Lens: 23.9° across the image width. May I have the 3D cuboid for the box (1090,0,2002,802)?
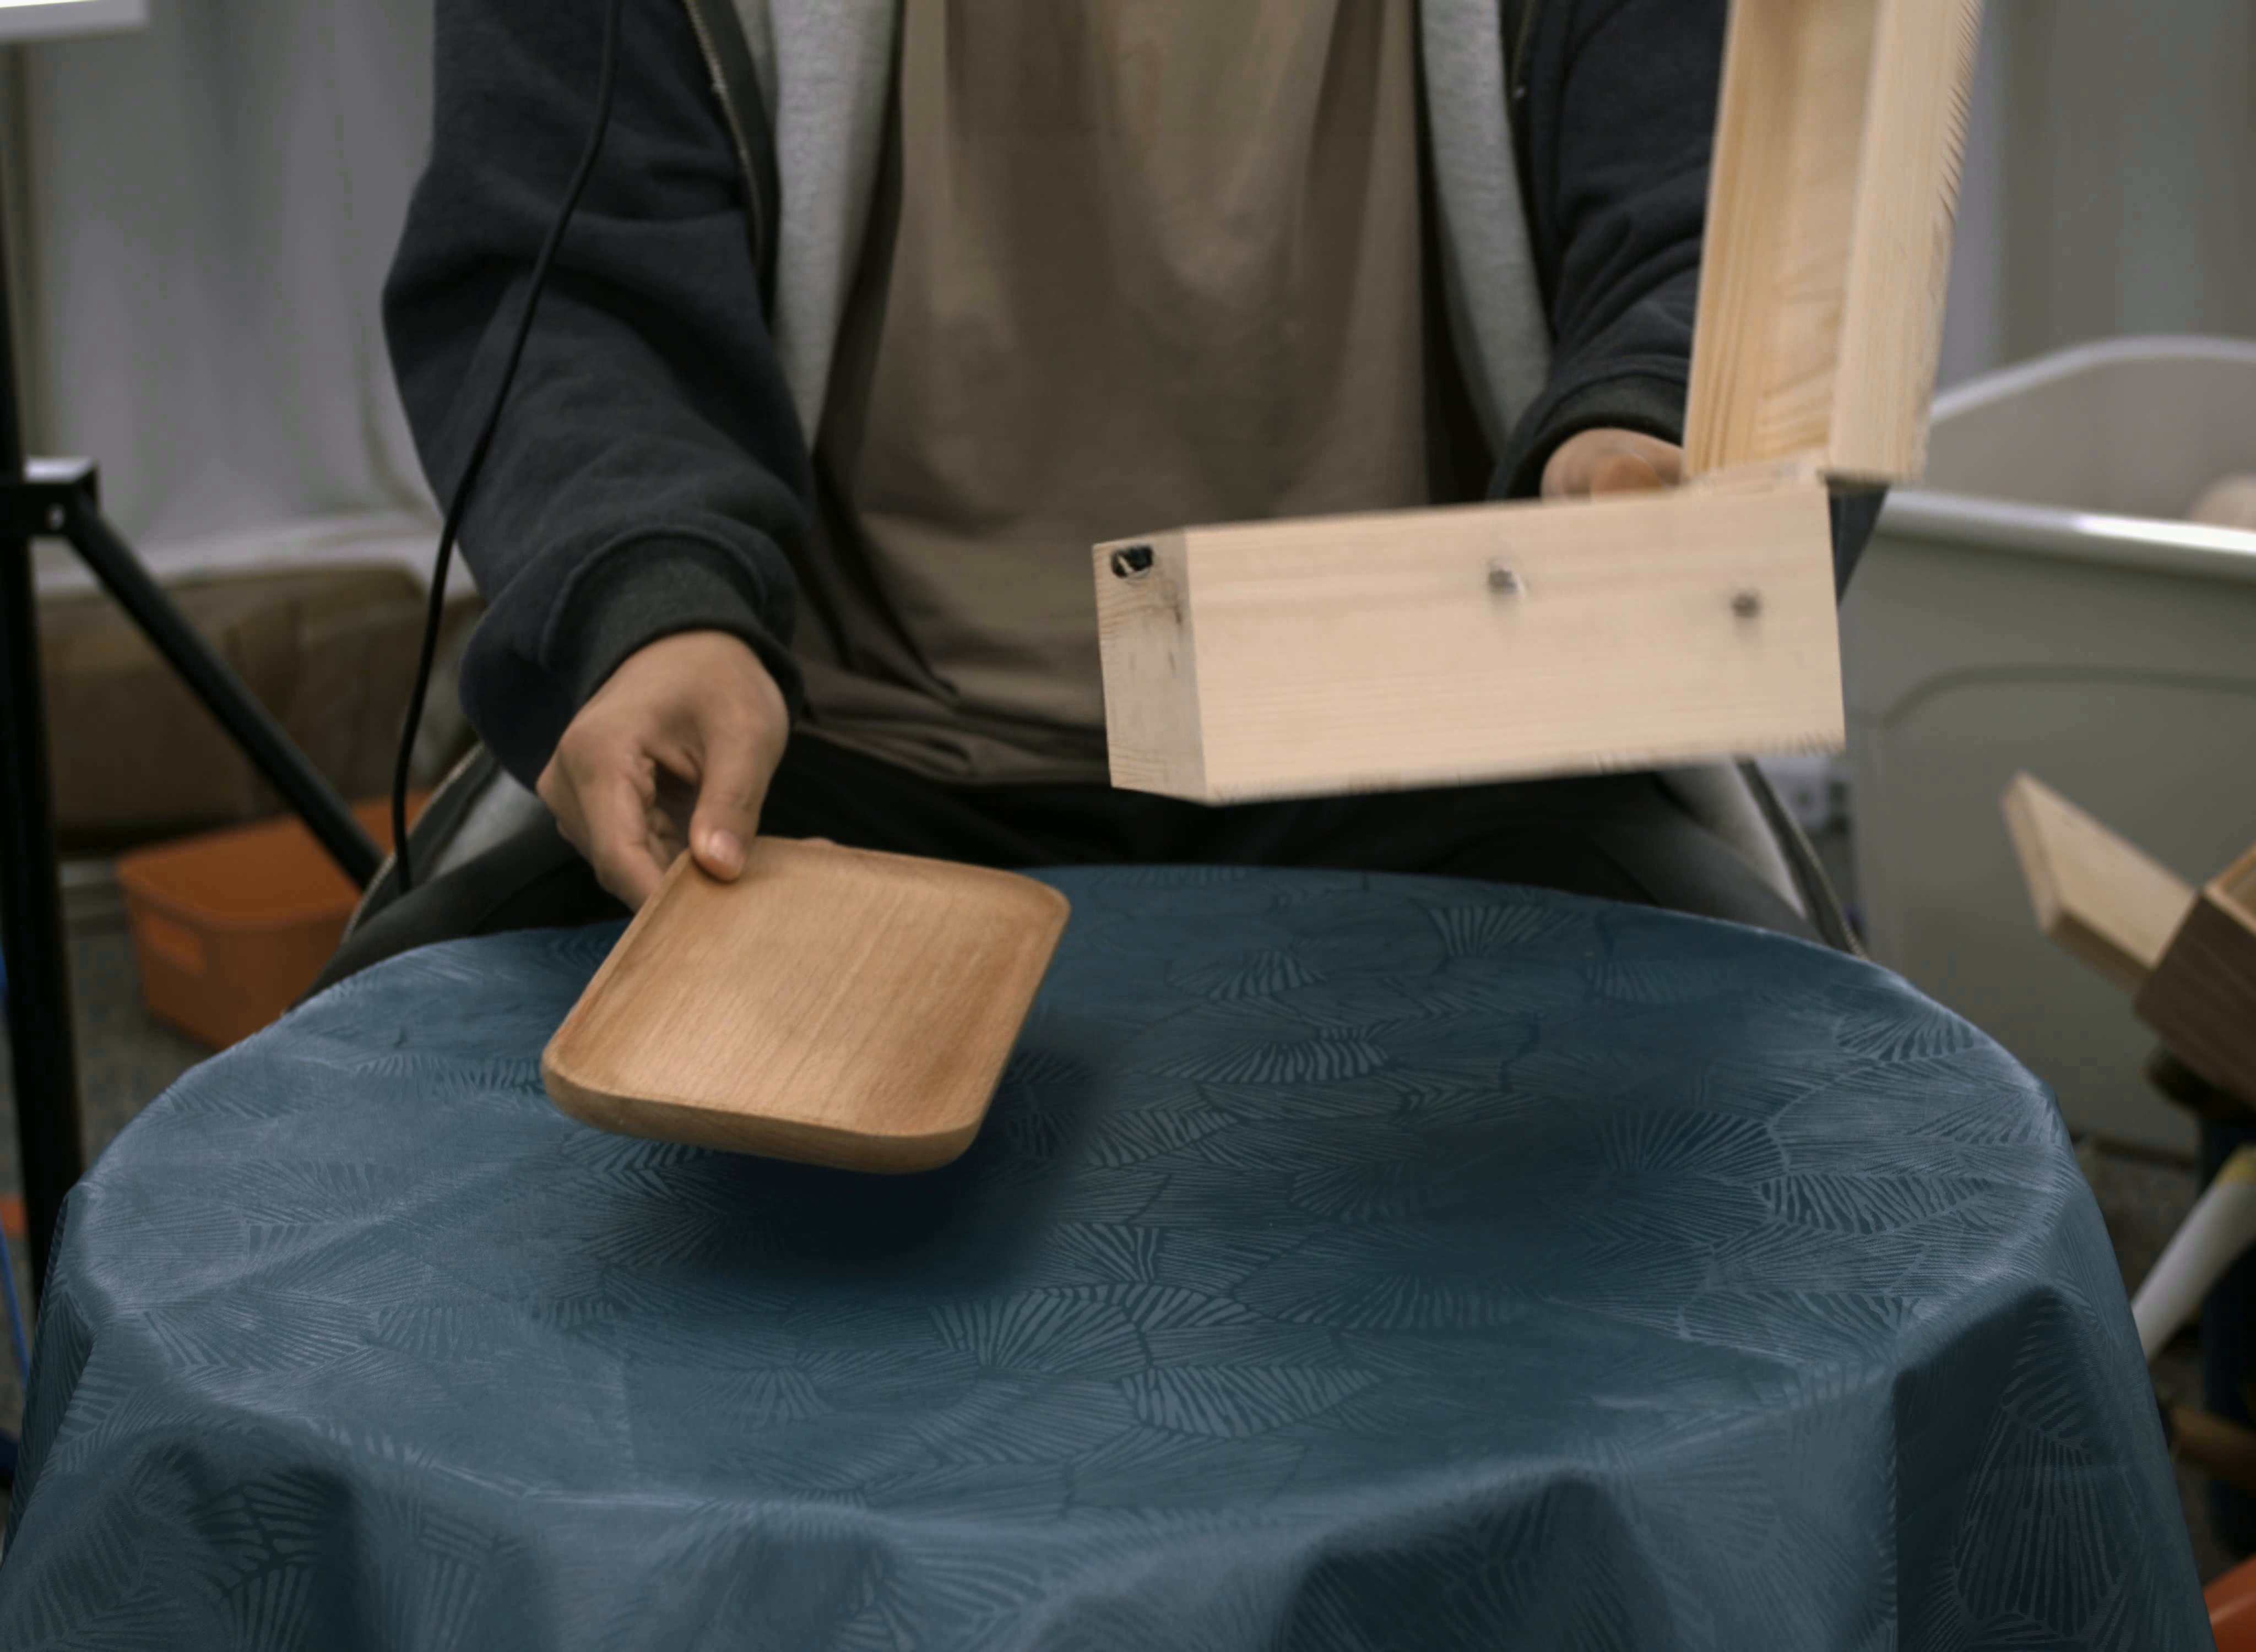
[{"bbox_3d":[0.120,-0.143,1.539,0.262,0.255,0.182,-4,-2,-7],"label":"box"}]

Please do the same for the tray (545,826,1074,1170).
[{"bbox_3d":[-0.092,0.049,1.605,0.130,0.023,0.250,11,17,5],"label":"tray"}]
